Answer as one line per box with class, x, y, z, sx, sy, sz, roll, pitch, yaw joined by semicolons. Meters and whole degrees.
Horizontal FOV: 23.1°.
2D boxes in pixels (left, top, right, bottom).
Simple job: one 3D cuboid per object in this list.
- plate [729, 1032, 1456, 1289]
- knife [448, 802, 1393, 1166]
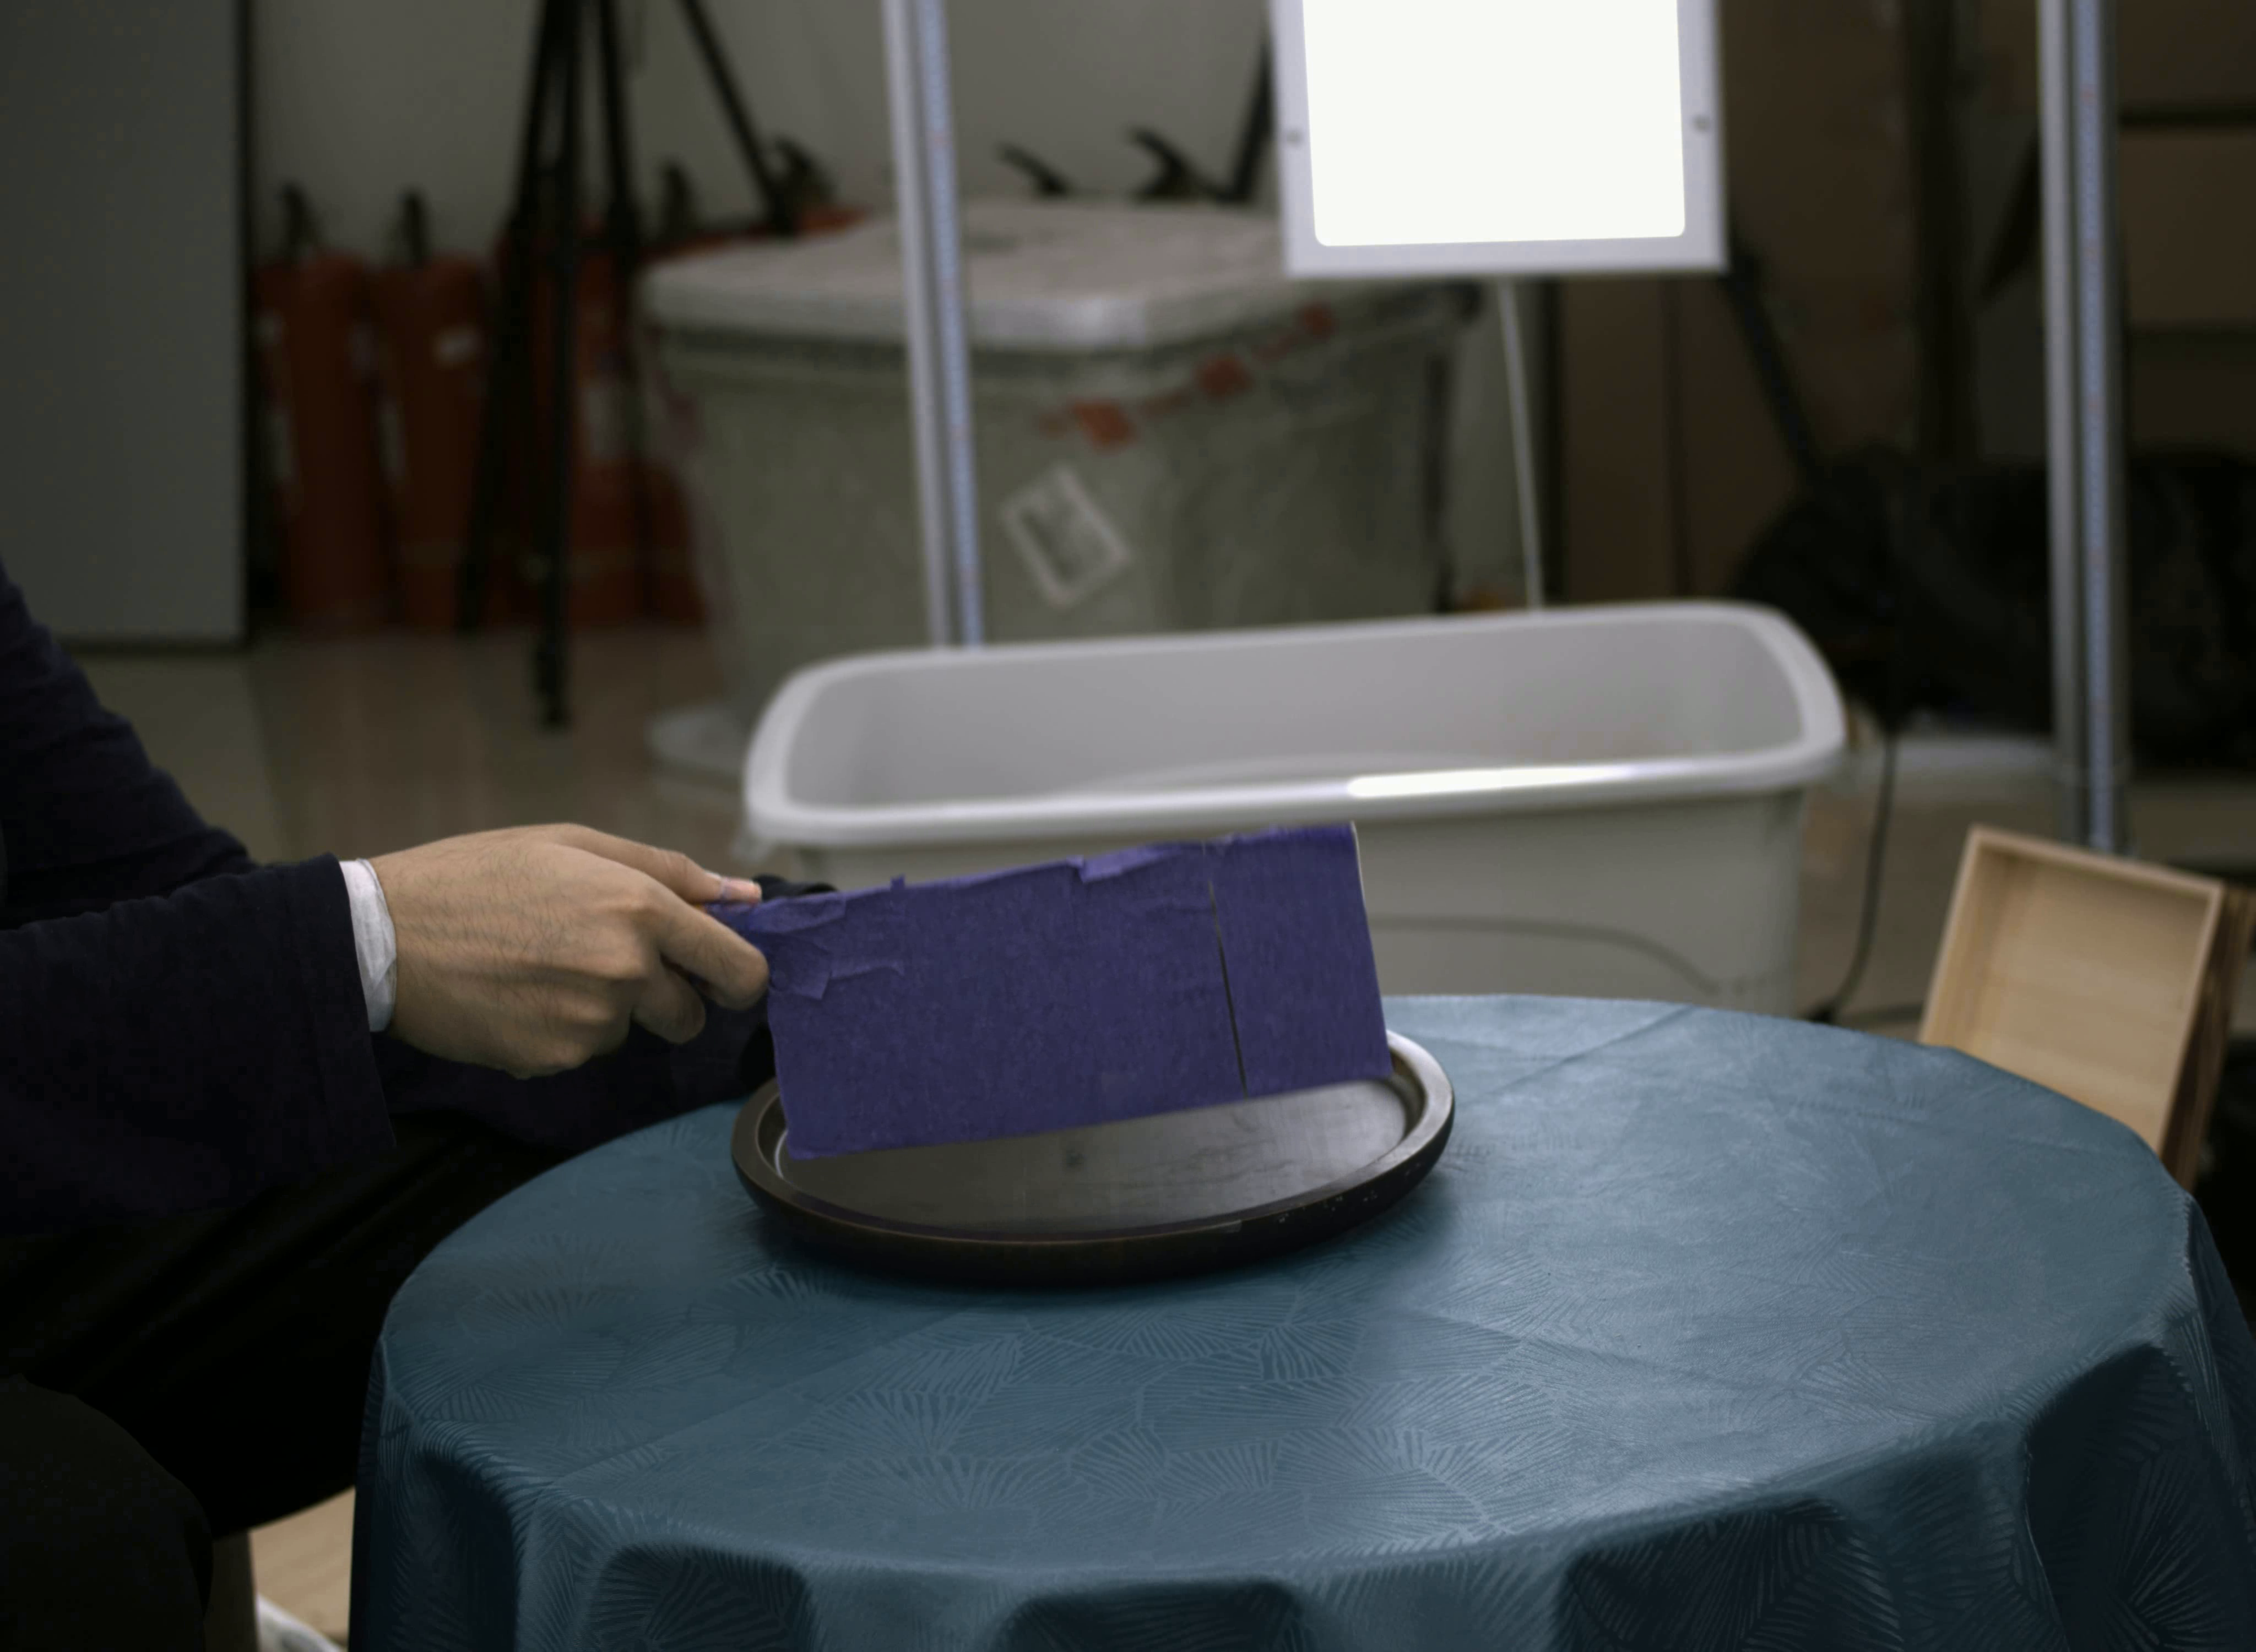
plate;-0.012;0.108;1.910;0.254;0.029;0.254;-4;17;0
knife;-0.068;0.064;1.855;0.315;0.104;0.032;-8;6;2
